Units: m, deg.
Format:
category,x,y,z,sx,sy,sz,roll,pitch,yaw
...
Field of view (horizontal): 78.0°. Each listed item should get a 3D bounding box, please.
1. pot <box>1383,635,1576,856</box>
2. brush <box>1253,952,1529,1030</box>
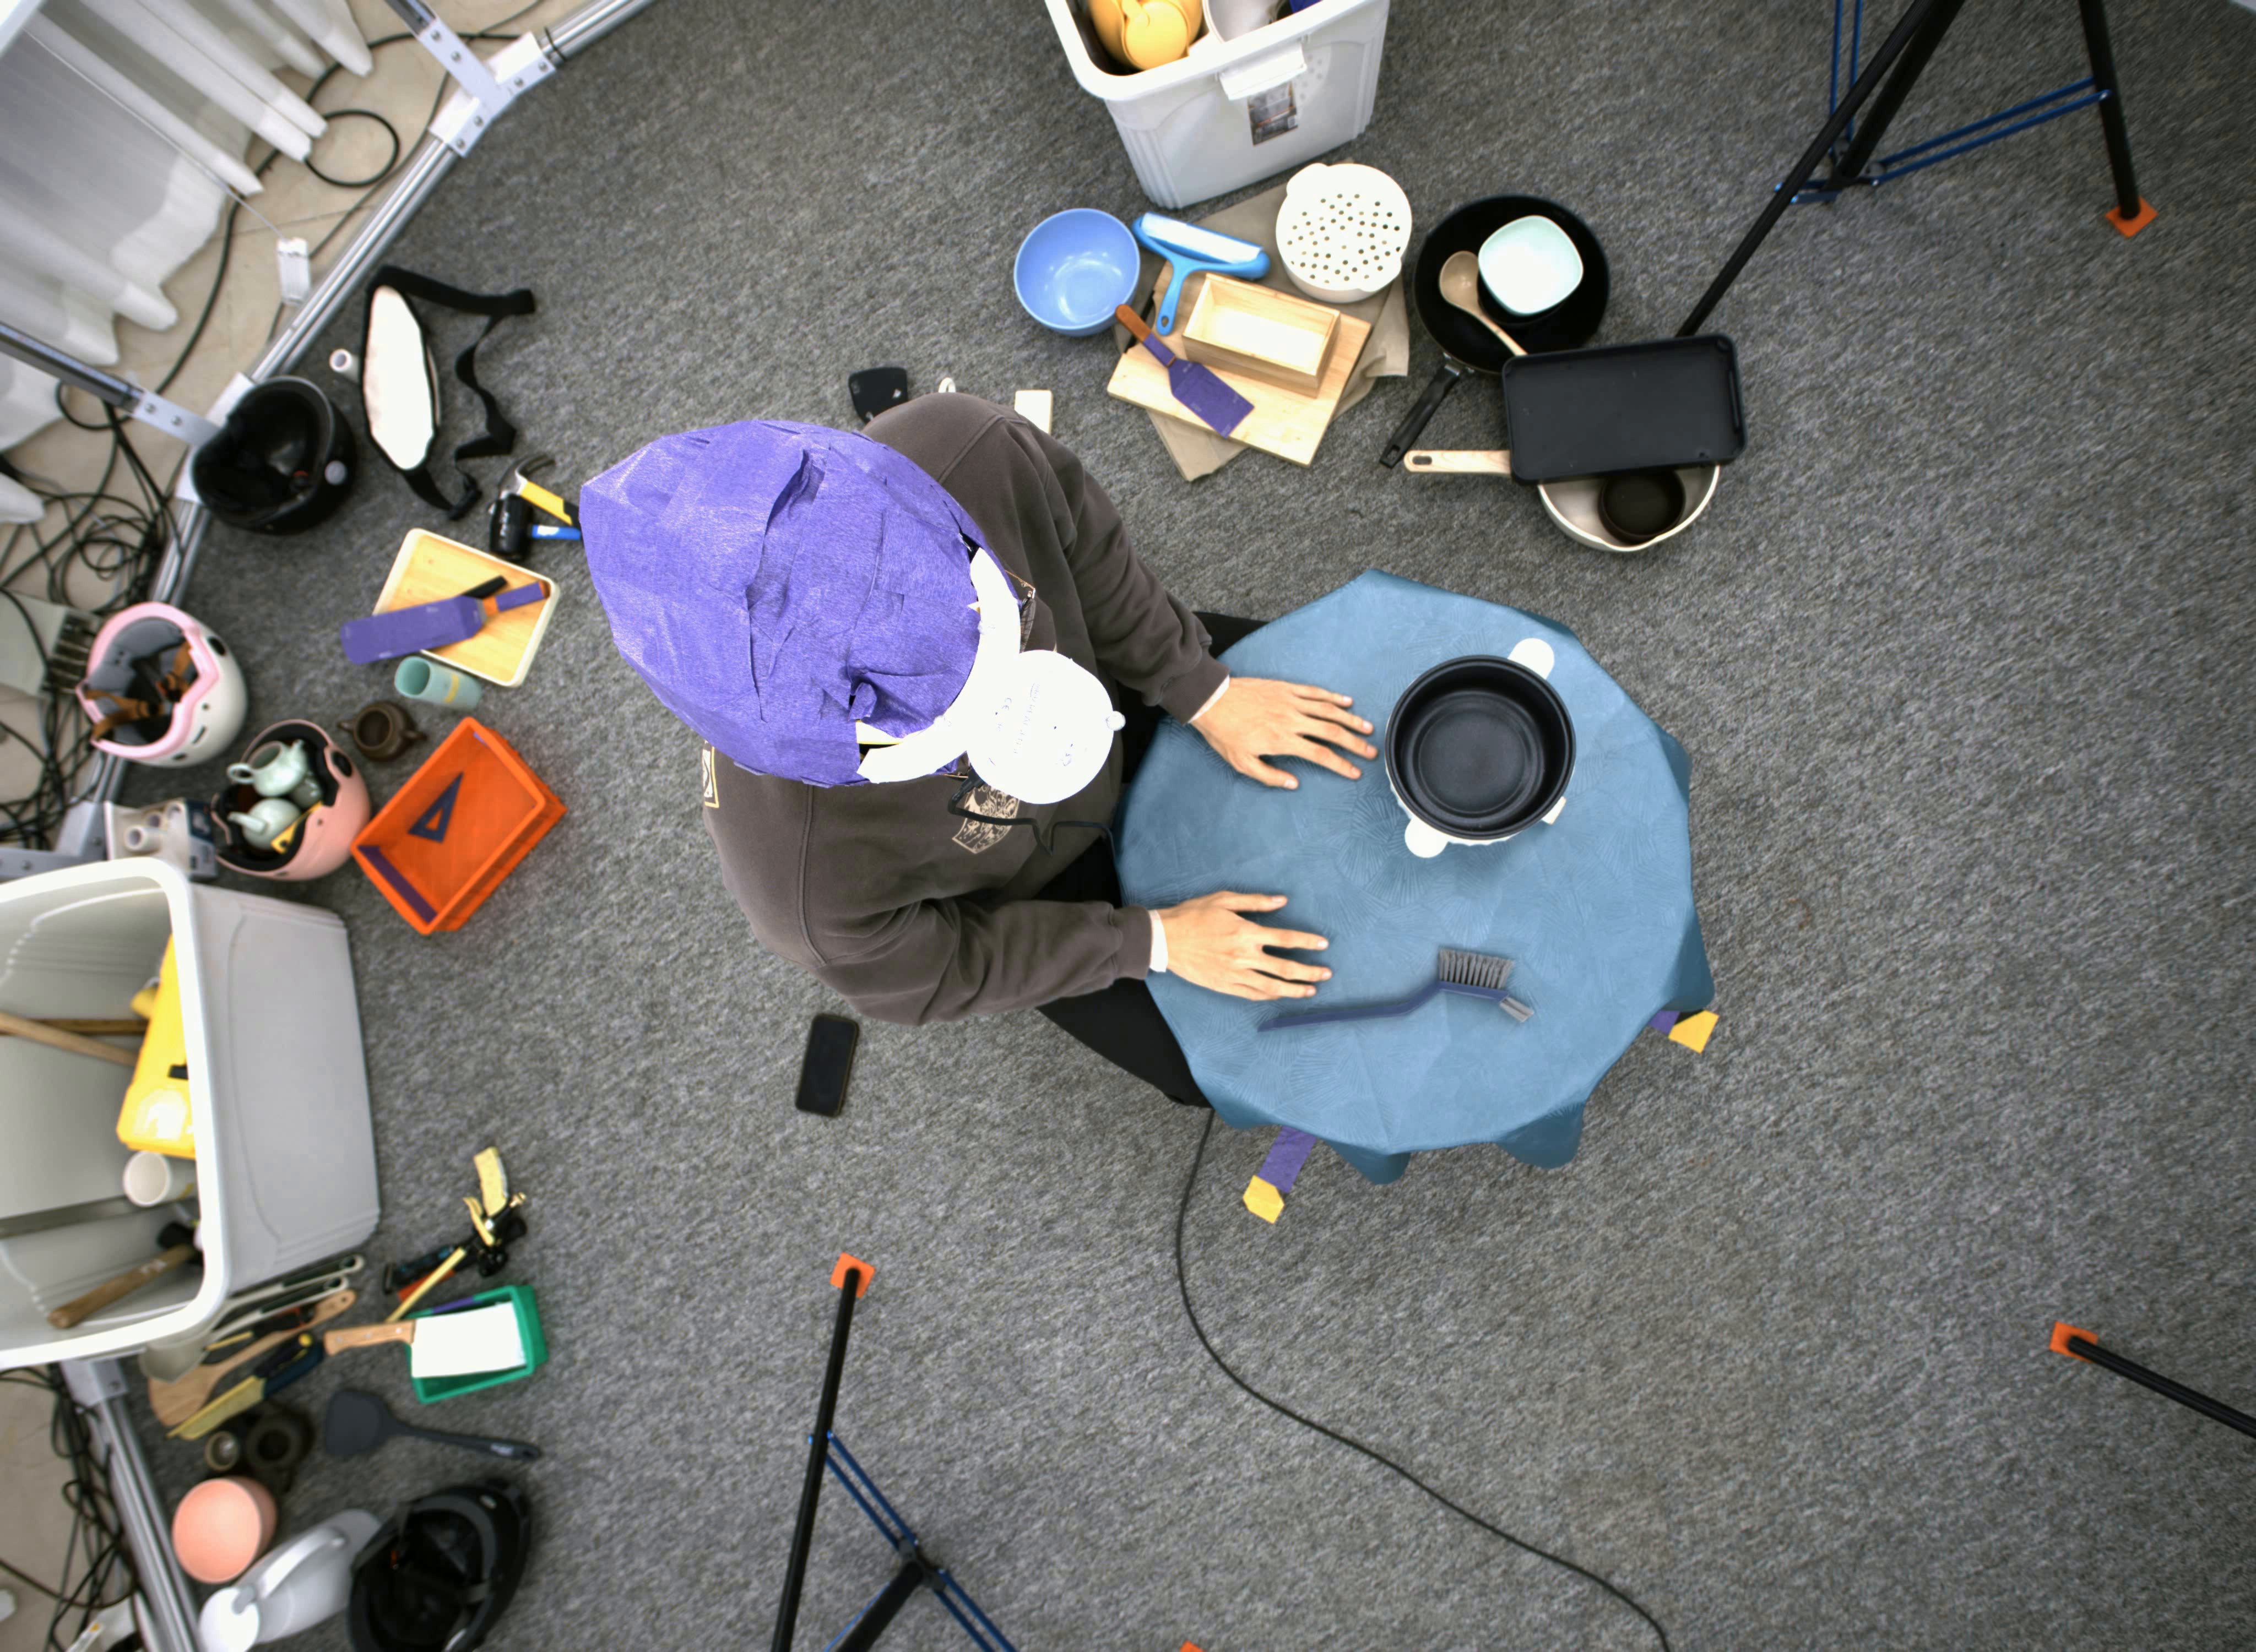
category,x,y,z,sx,sy,sz,roll,pitch,yaw
pot,0.353,-0.072,1.378,0.190,0.142,0.241,31,94,14
brush,0.270,0.195,1.436,0.274,0.033,0.095,-16,85,8
